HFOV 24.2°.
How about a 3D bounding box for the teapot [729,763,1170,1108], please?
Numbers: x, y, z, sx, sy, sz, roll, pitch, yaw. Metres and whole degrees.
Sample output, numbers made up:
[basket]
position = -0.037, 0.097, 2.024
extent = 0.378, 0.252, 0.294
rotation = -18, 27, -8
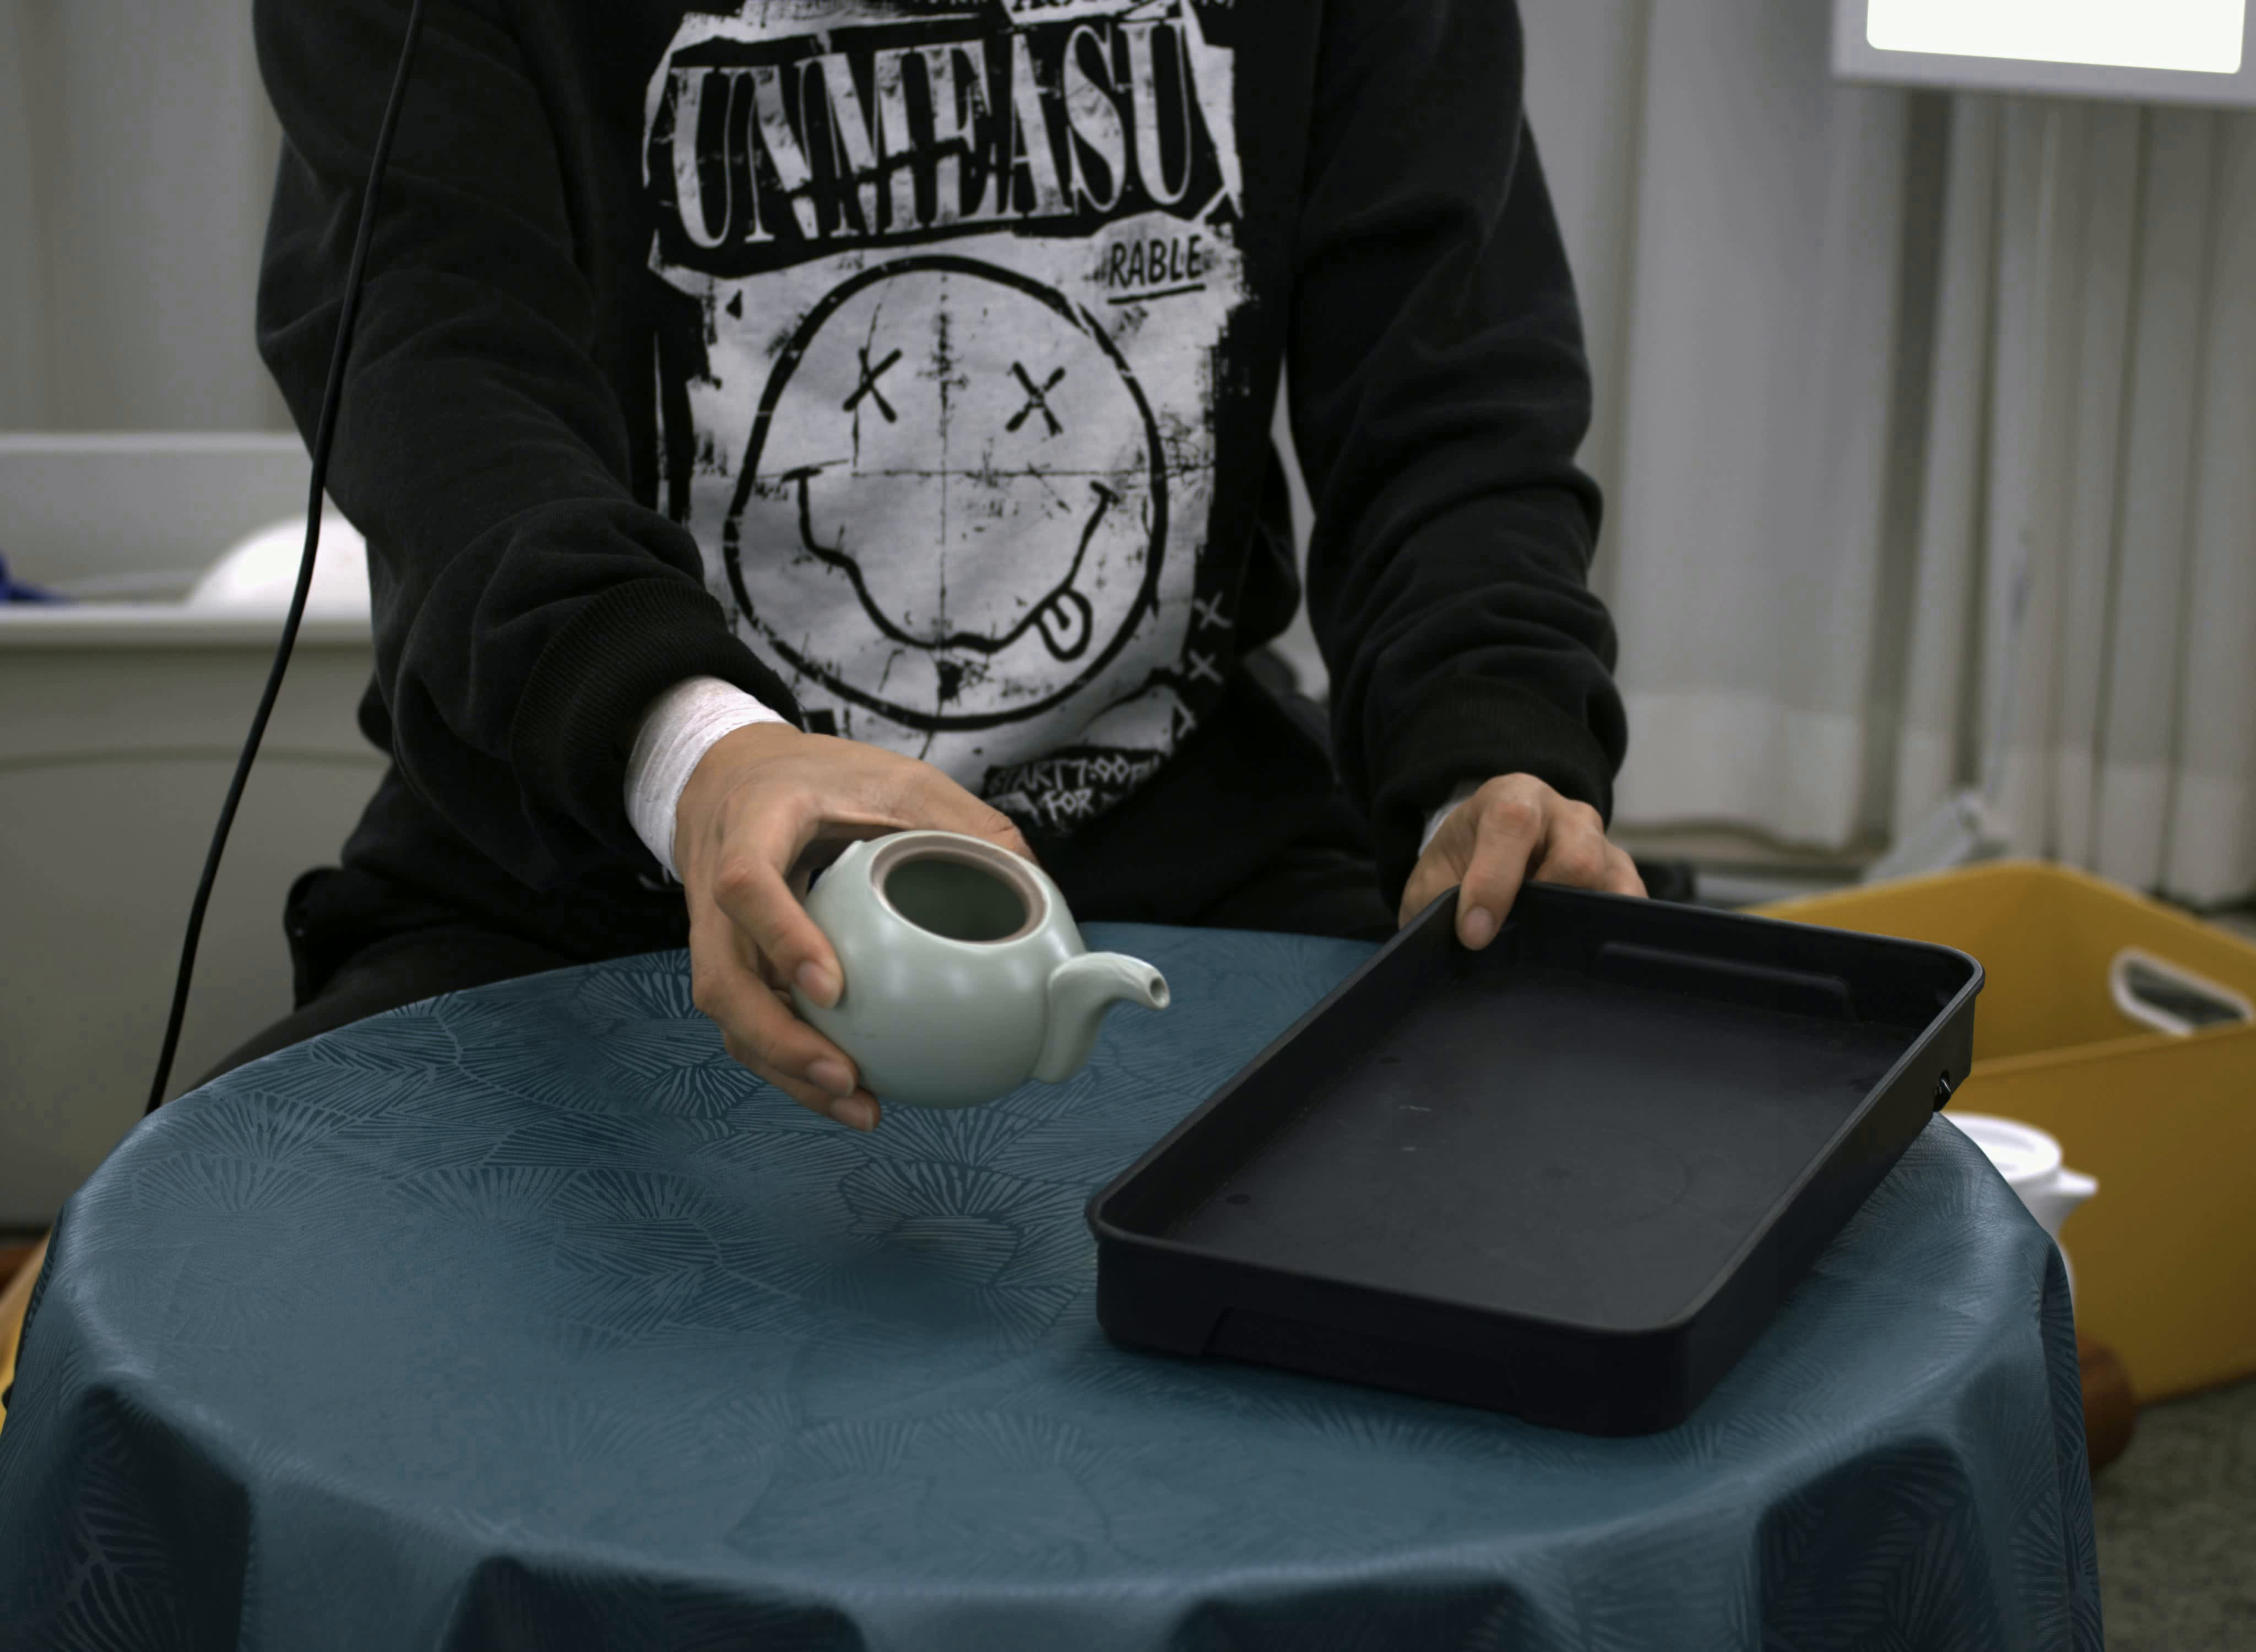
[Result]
[teapot]
position = -0.058, 0.041, 1.555
extent = 0.142, 0.075, 0.088
rotation = 29, 34, 15

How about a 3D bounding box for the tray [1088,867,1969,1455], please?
[tray]
position = 0.127, 0.092, 1.579
extent = 0.182, 0.037, 0.318
rotation = 10, 23, 21
